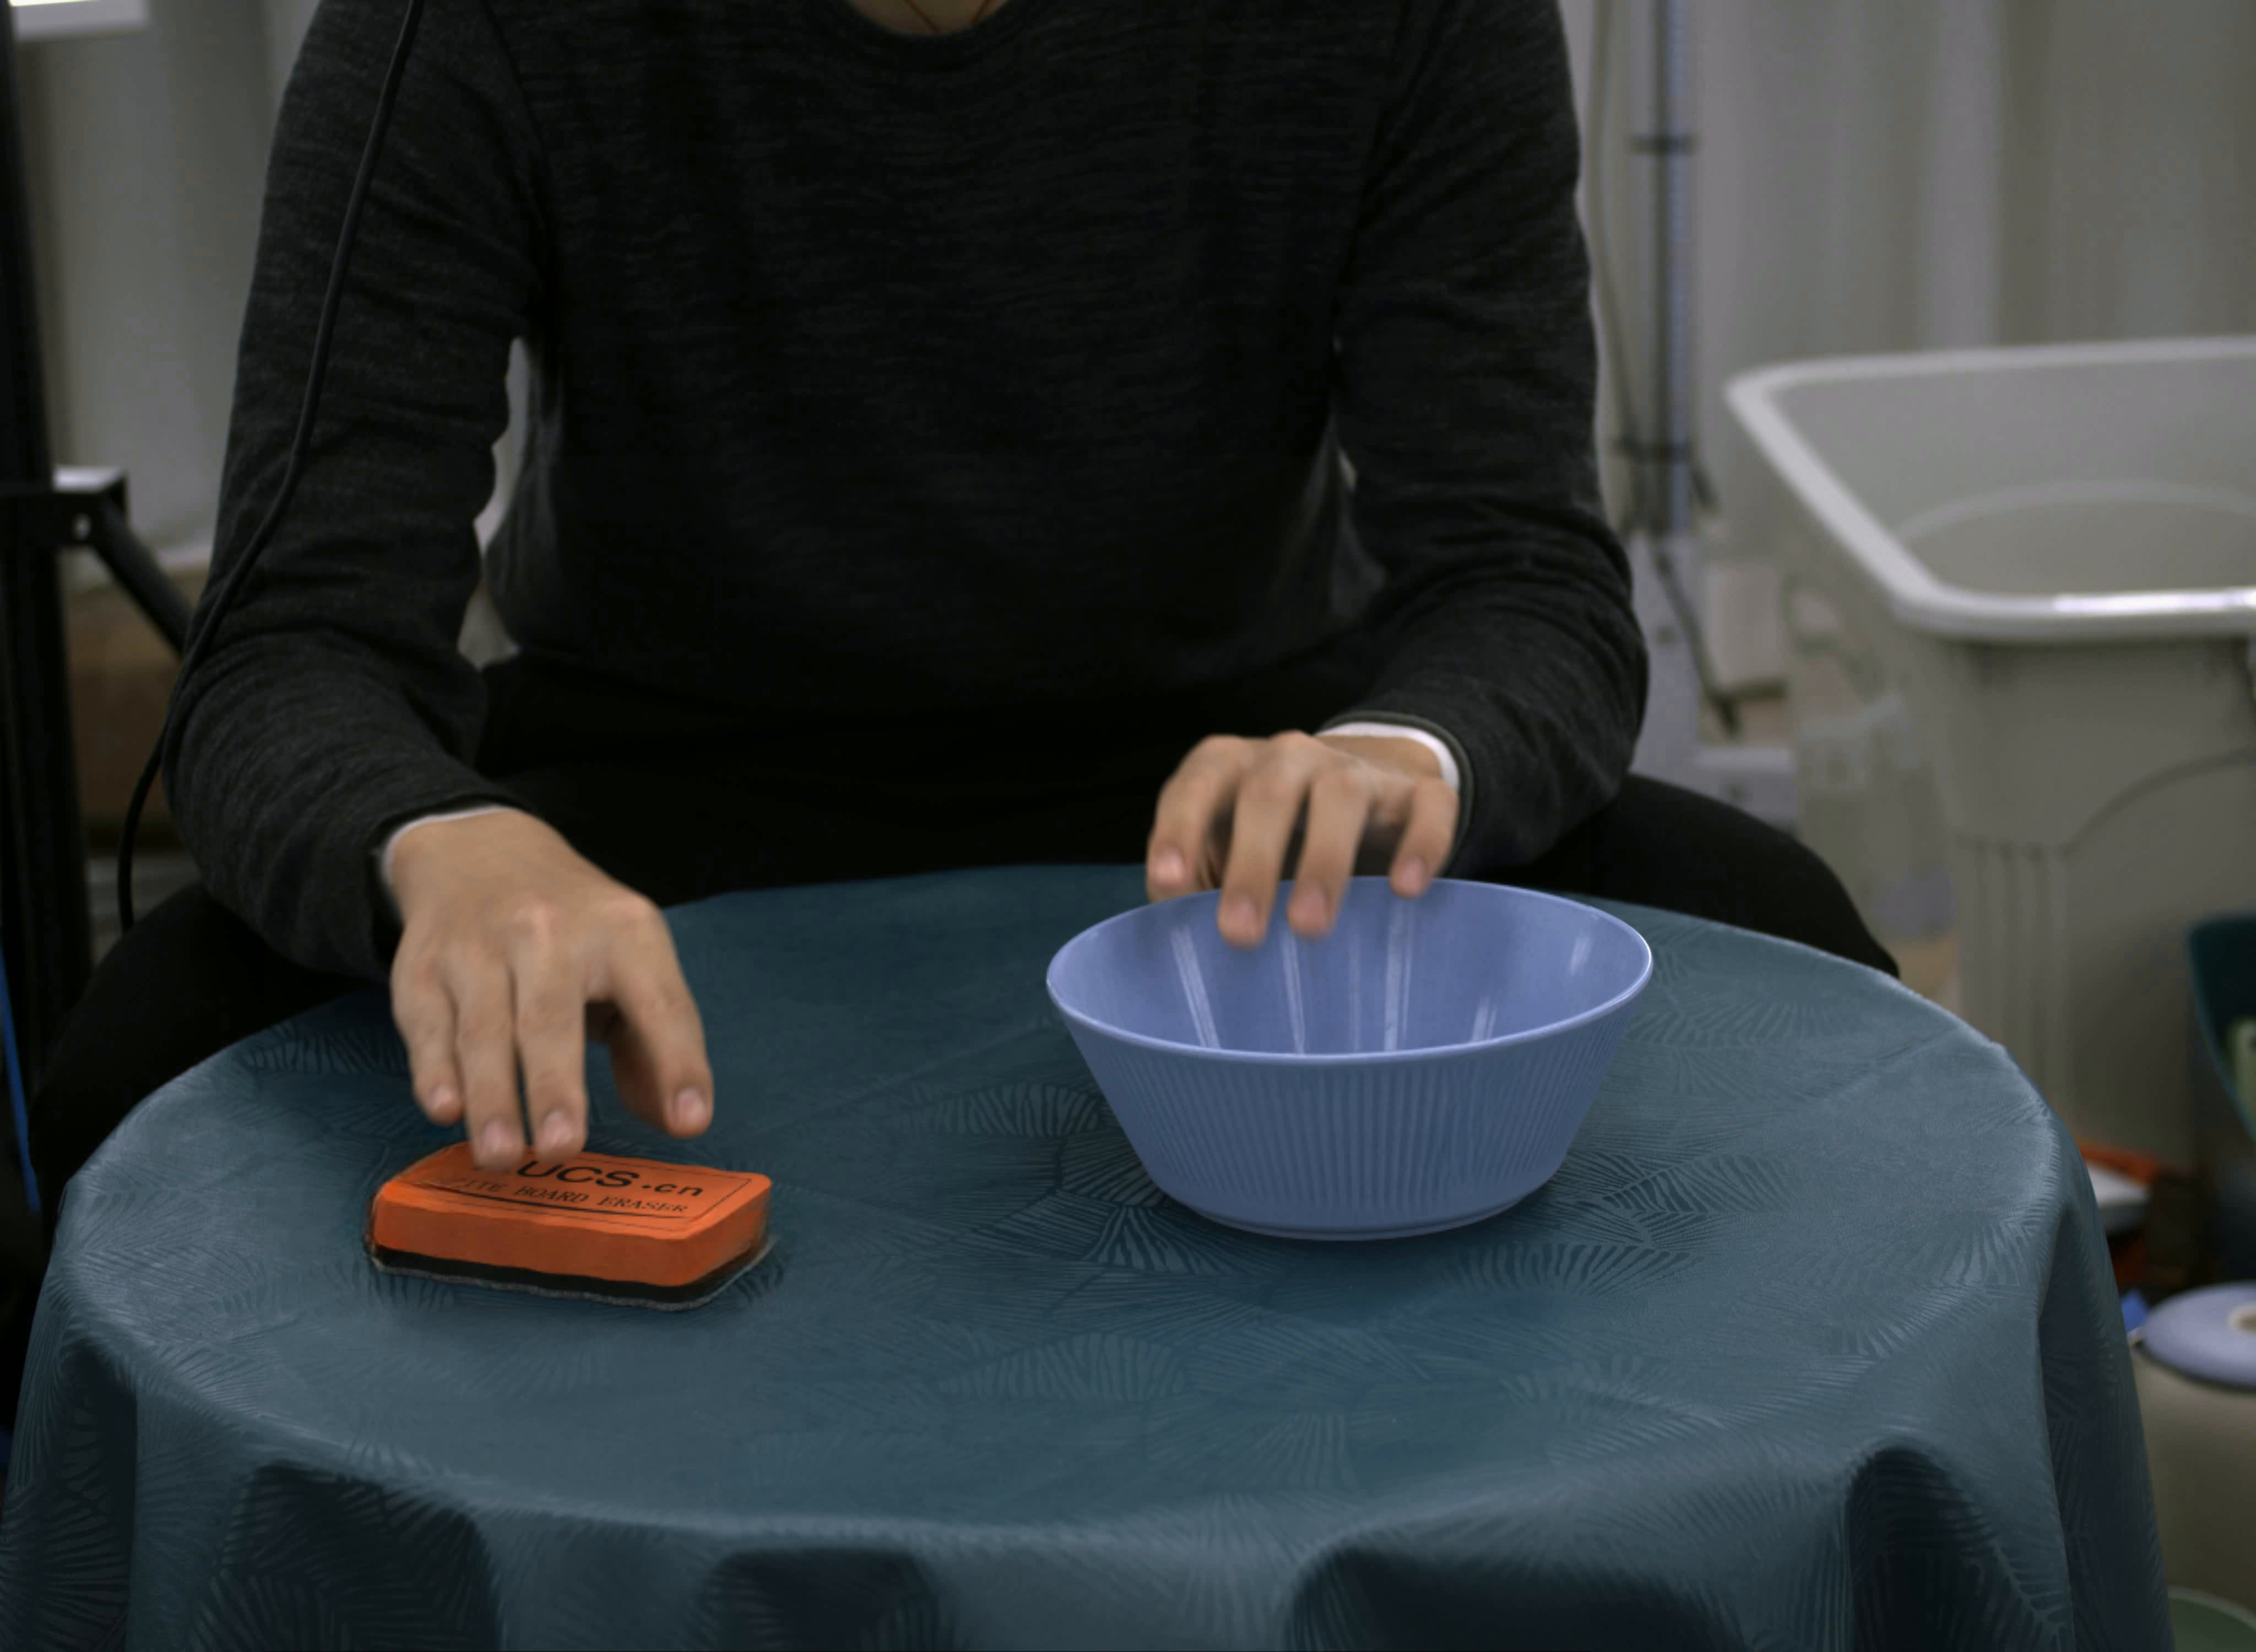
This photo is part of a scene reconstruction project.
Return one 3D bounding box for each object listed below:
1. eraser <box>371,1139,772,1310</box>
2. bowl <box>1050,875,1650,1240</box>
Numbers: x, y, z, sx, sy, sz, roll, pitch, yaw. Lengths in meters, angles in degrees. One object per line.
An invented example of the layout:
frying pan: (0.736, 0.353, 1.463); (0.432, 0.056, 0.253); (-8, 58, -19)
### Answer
eraser: (-0.159, 0.113, 1.522); (0.110, 0.023, 0.058); (5, 19, 26)
bowl: (0.066, 0.070, 1.551); (0.175, 0.070, 0.177); (-3, 16, -1)
